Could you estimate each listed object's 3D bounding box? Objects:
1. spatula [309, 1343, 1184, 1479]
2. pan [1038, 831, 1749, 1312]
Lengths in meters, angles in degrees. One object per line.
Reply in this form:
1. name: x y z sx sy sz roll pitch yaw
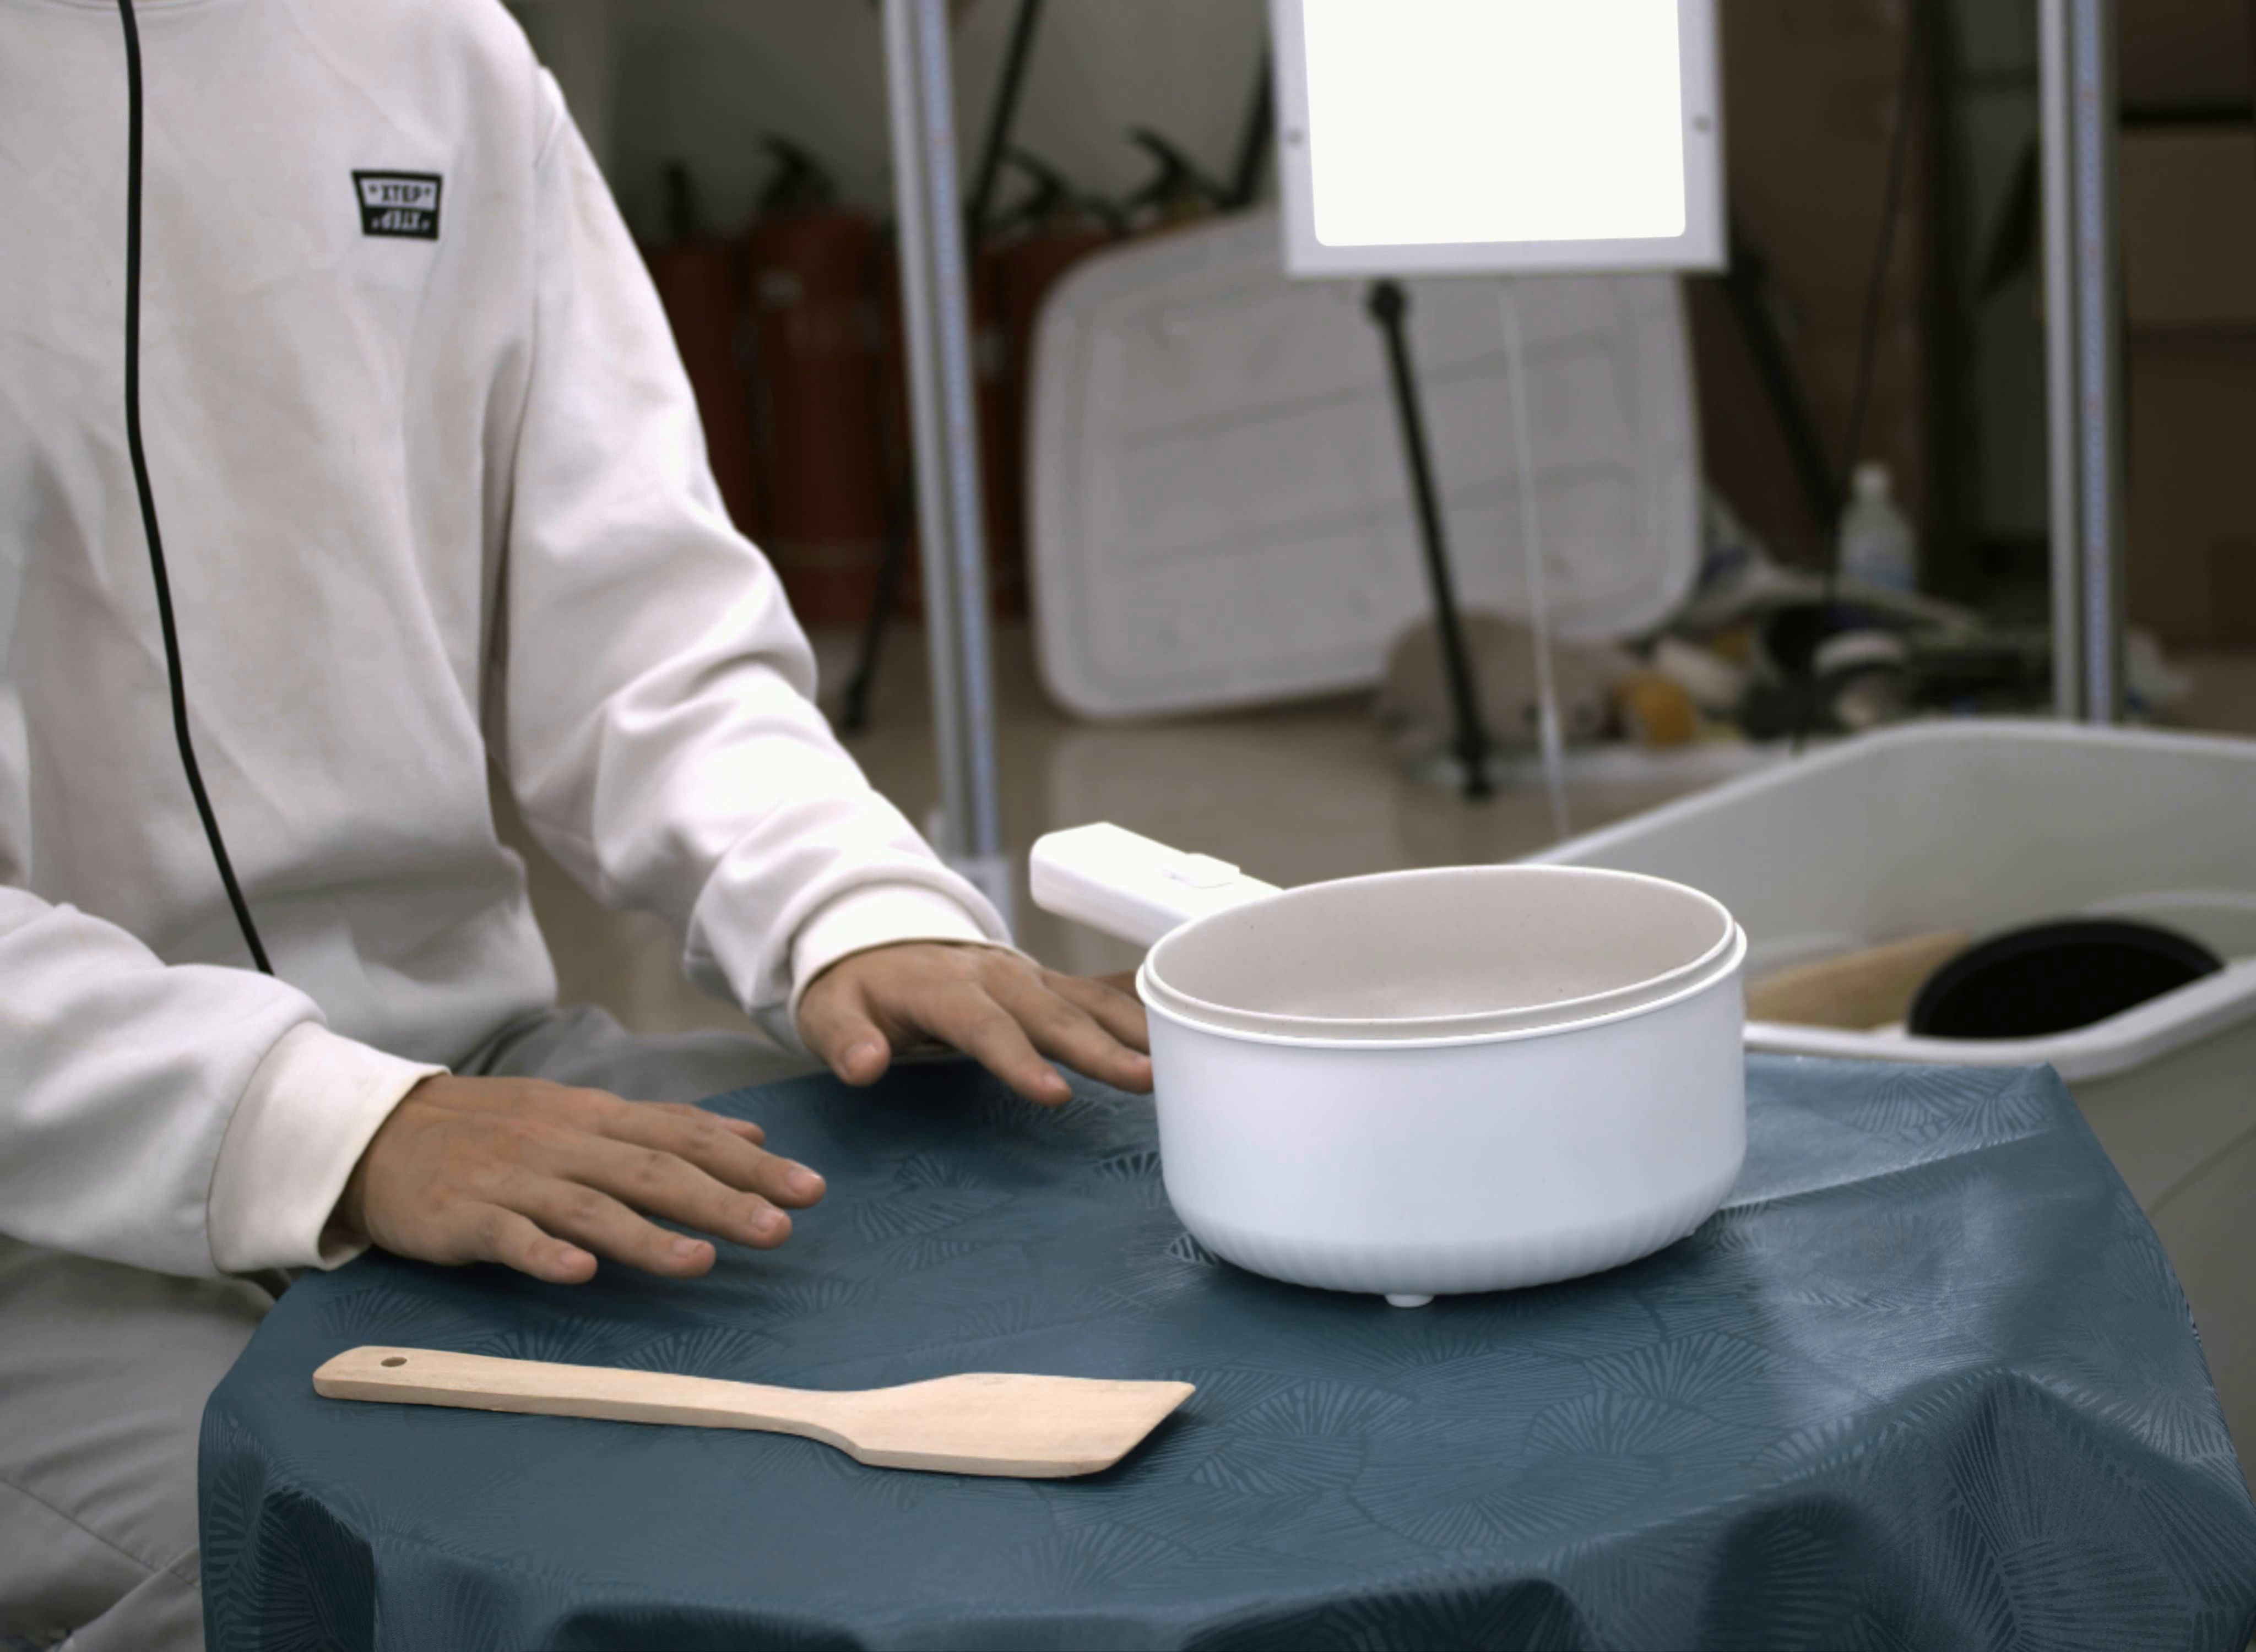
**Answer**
1. spatula: -0.127 0.178 1.712 0.298 0.011 0.071 2 17 26
2. pan: 0.070 0.076 1.881 0.197 0.102 0.361 -13 14 -26
